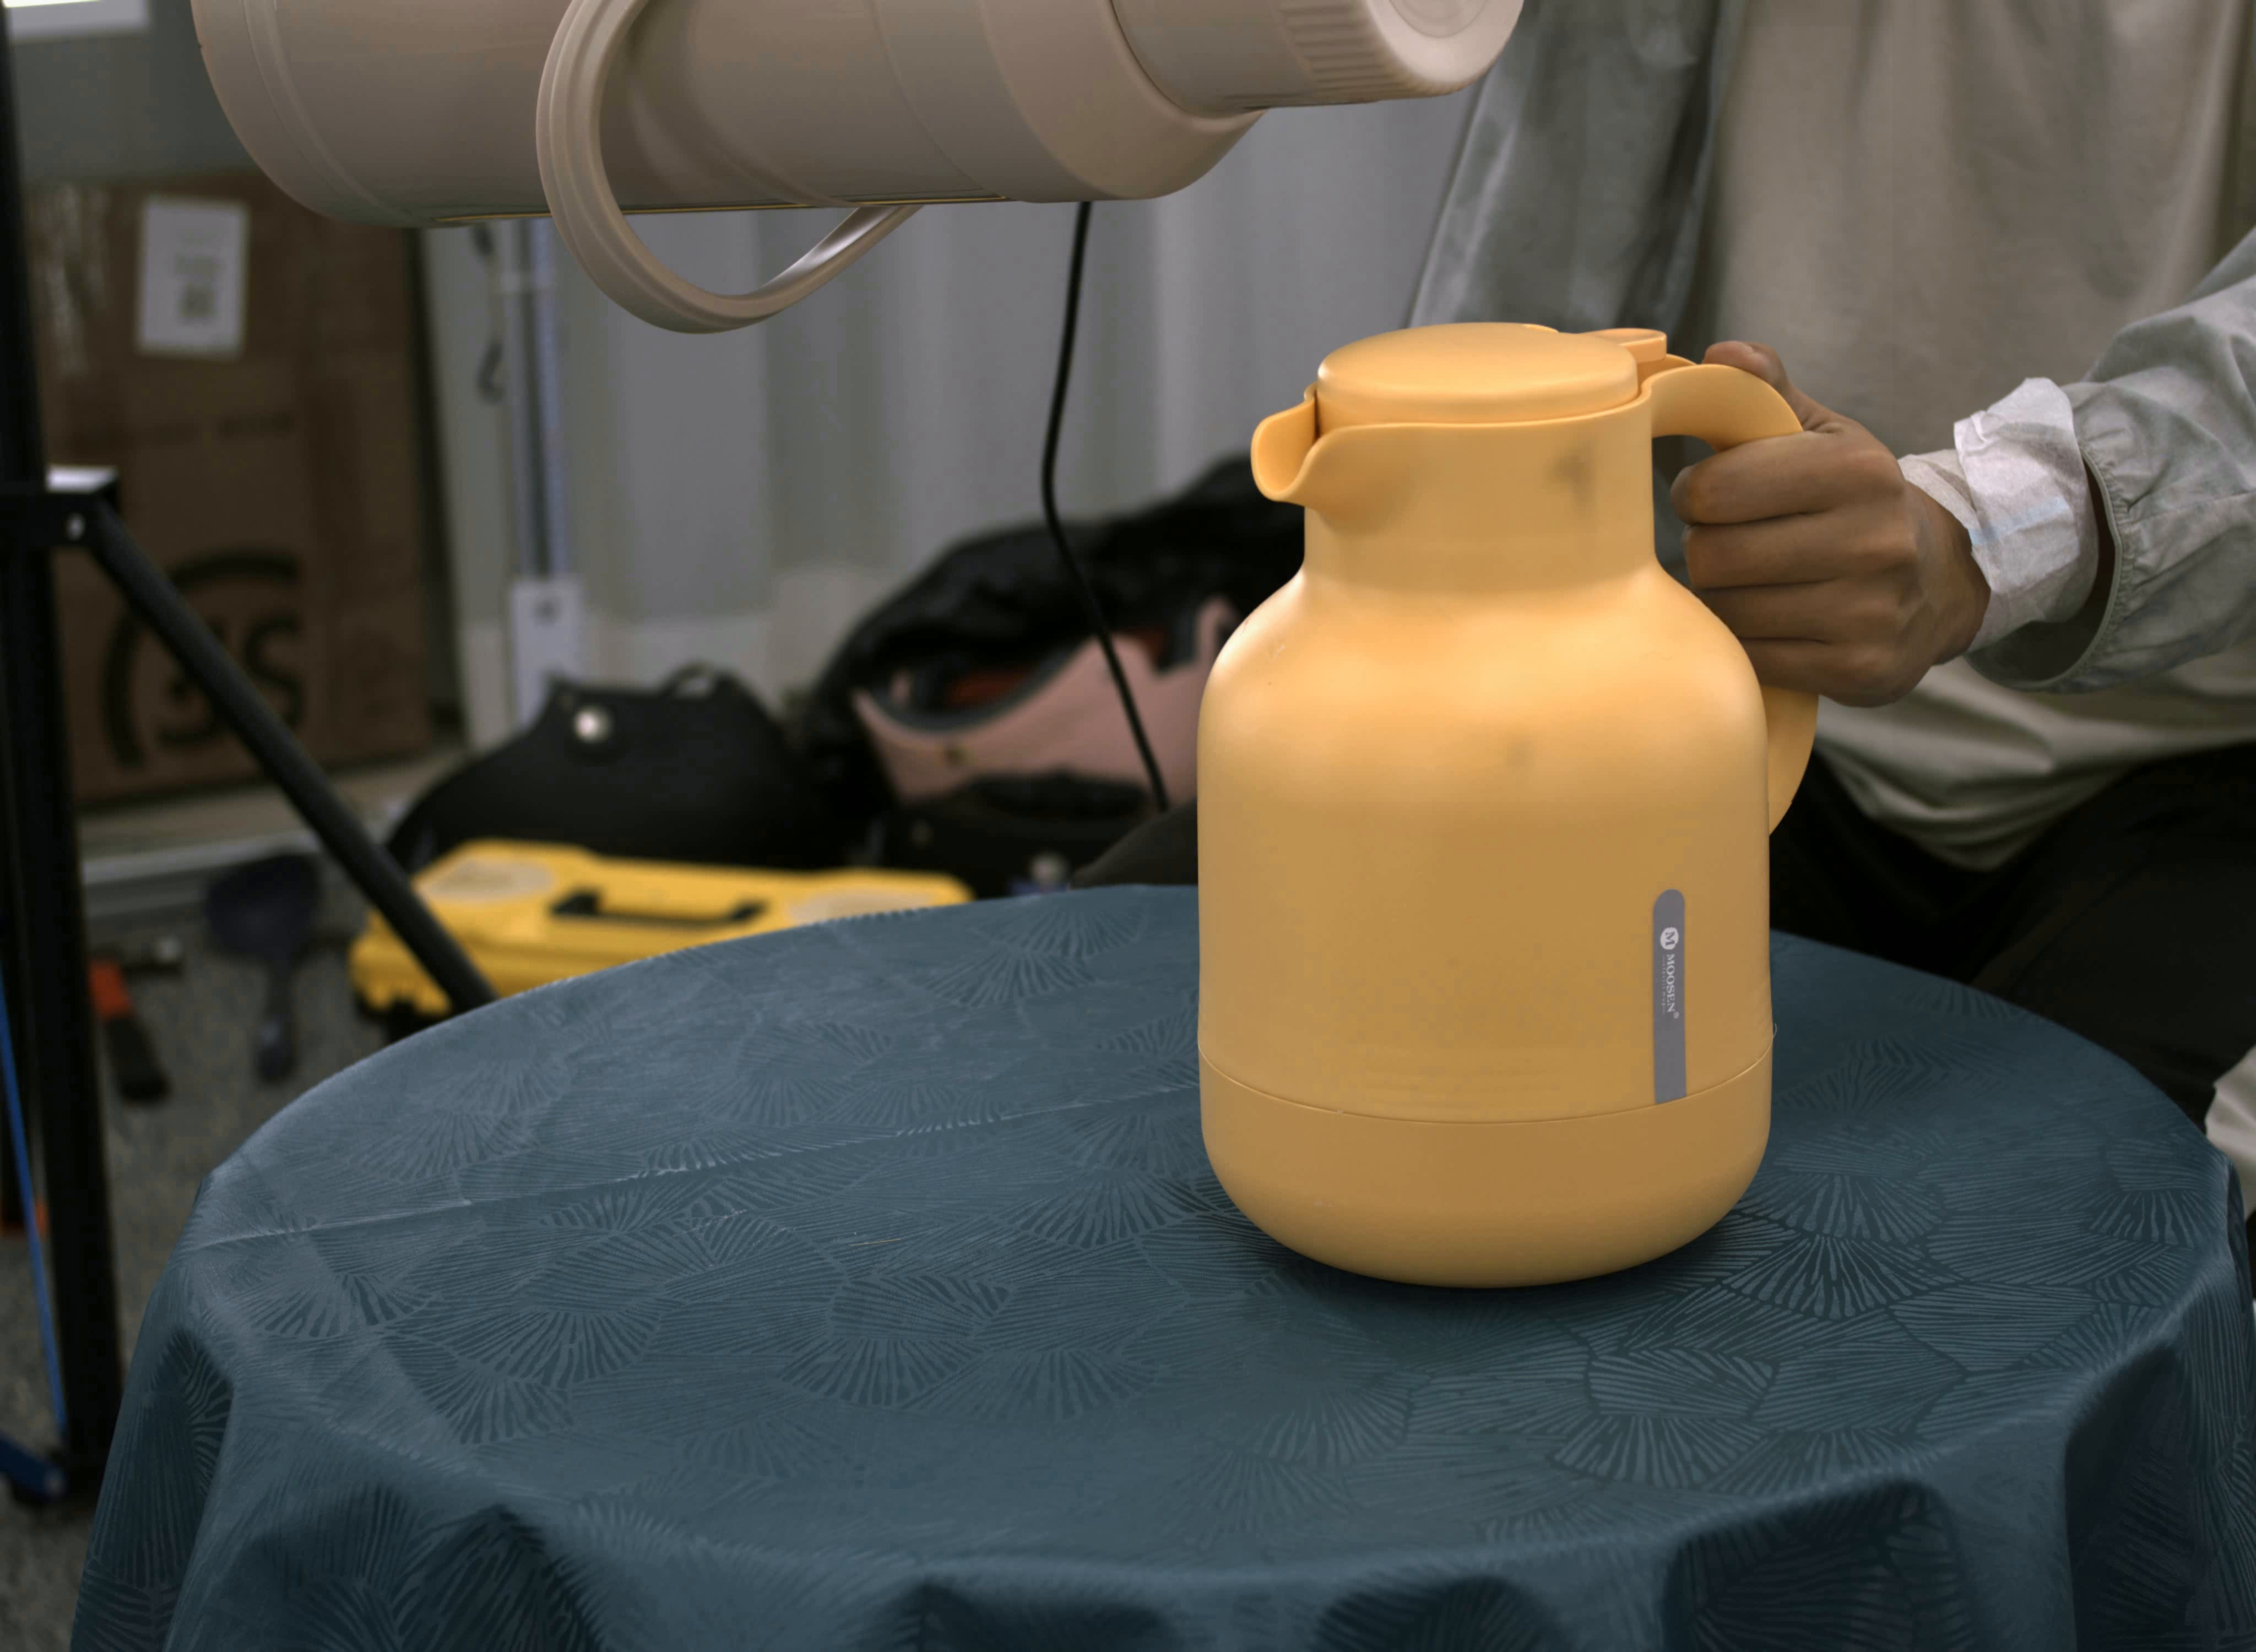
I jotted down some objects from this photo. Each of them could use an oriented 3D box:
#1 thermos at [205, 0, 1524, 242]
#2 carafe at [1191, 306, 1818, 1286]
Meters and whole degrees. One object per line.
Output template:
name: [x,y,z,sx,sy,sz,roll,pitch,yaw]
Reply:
thermos: [-0.073,-0.275,1.573,0.414,0.208,0.171,3,-14,38]
carafe: [0.115,-0.015,1.494,0.198,0.260,0.167,-13,21,-32]
